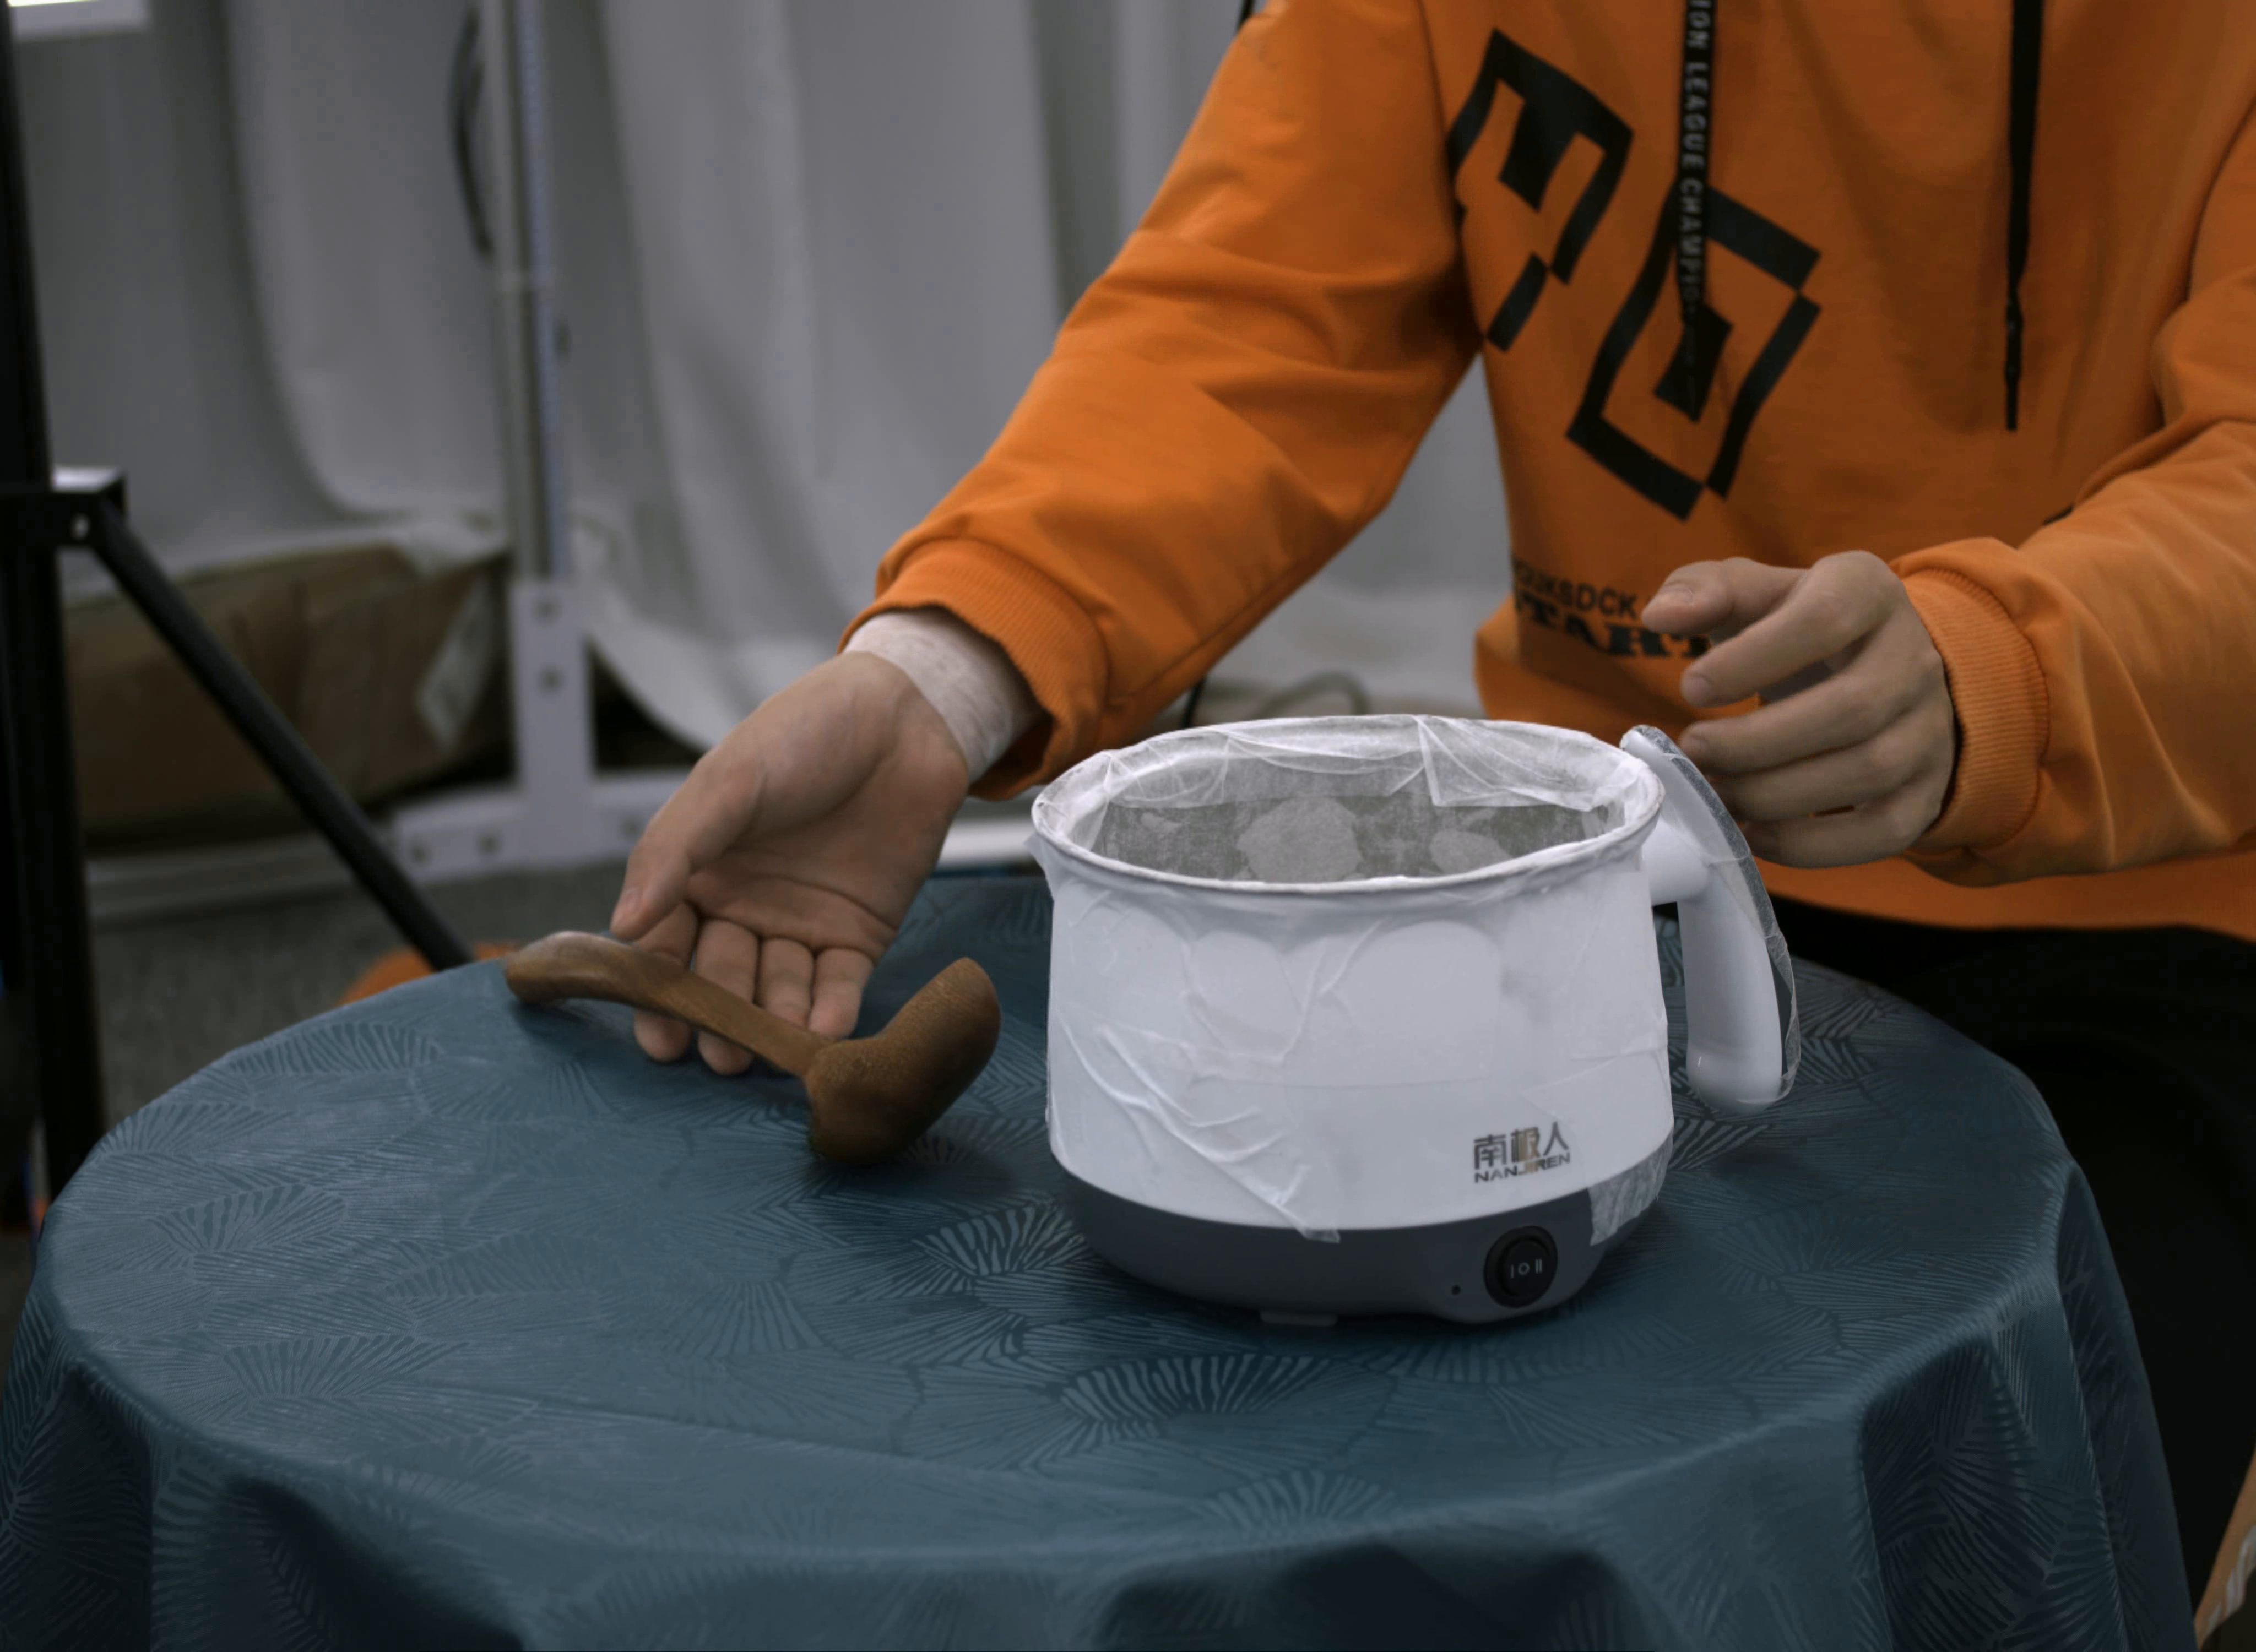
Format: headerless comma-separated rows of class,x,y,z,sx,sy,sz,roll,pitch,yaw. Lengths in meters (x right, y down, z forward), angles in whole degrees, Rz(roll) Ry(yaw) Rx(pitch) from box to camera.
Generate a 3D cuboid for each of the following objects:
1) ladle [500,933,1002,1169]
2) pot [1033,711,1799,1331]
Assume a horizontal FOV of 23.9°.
ladle,-0.130,0.053,1.664,0.075,0.064,0.266,-39,33,-25
pot,0.088,0.048,1.503,0.229,0.136,0.182,-11,18,-27
